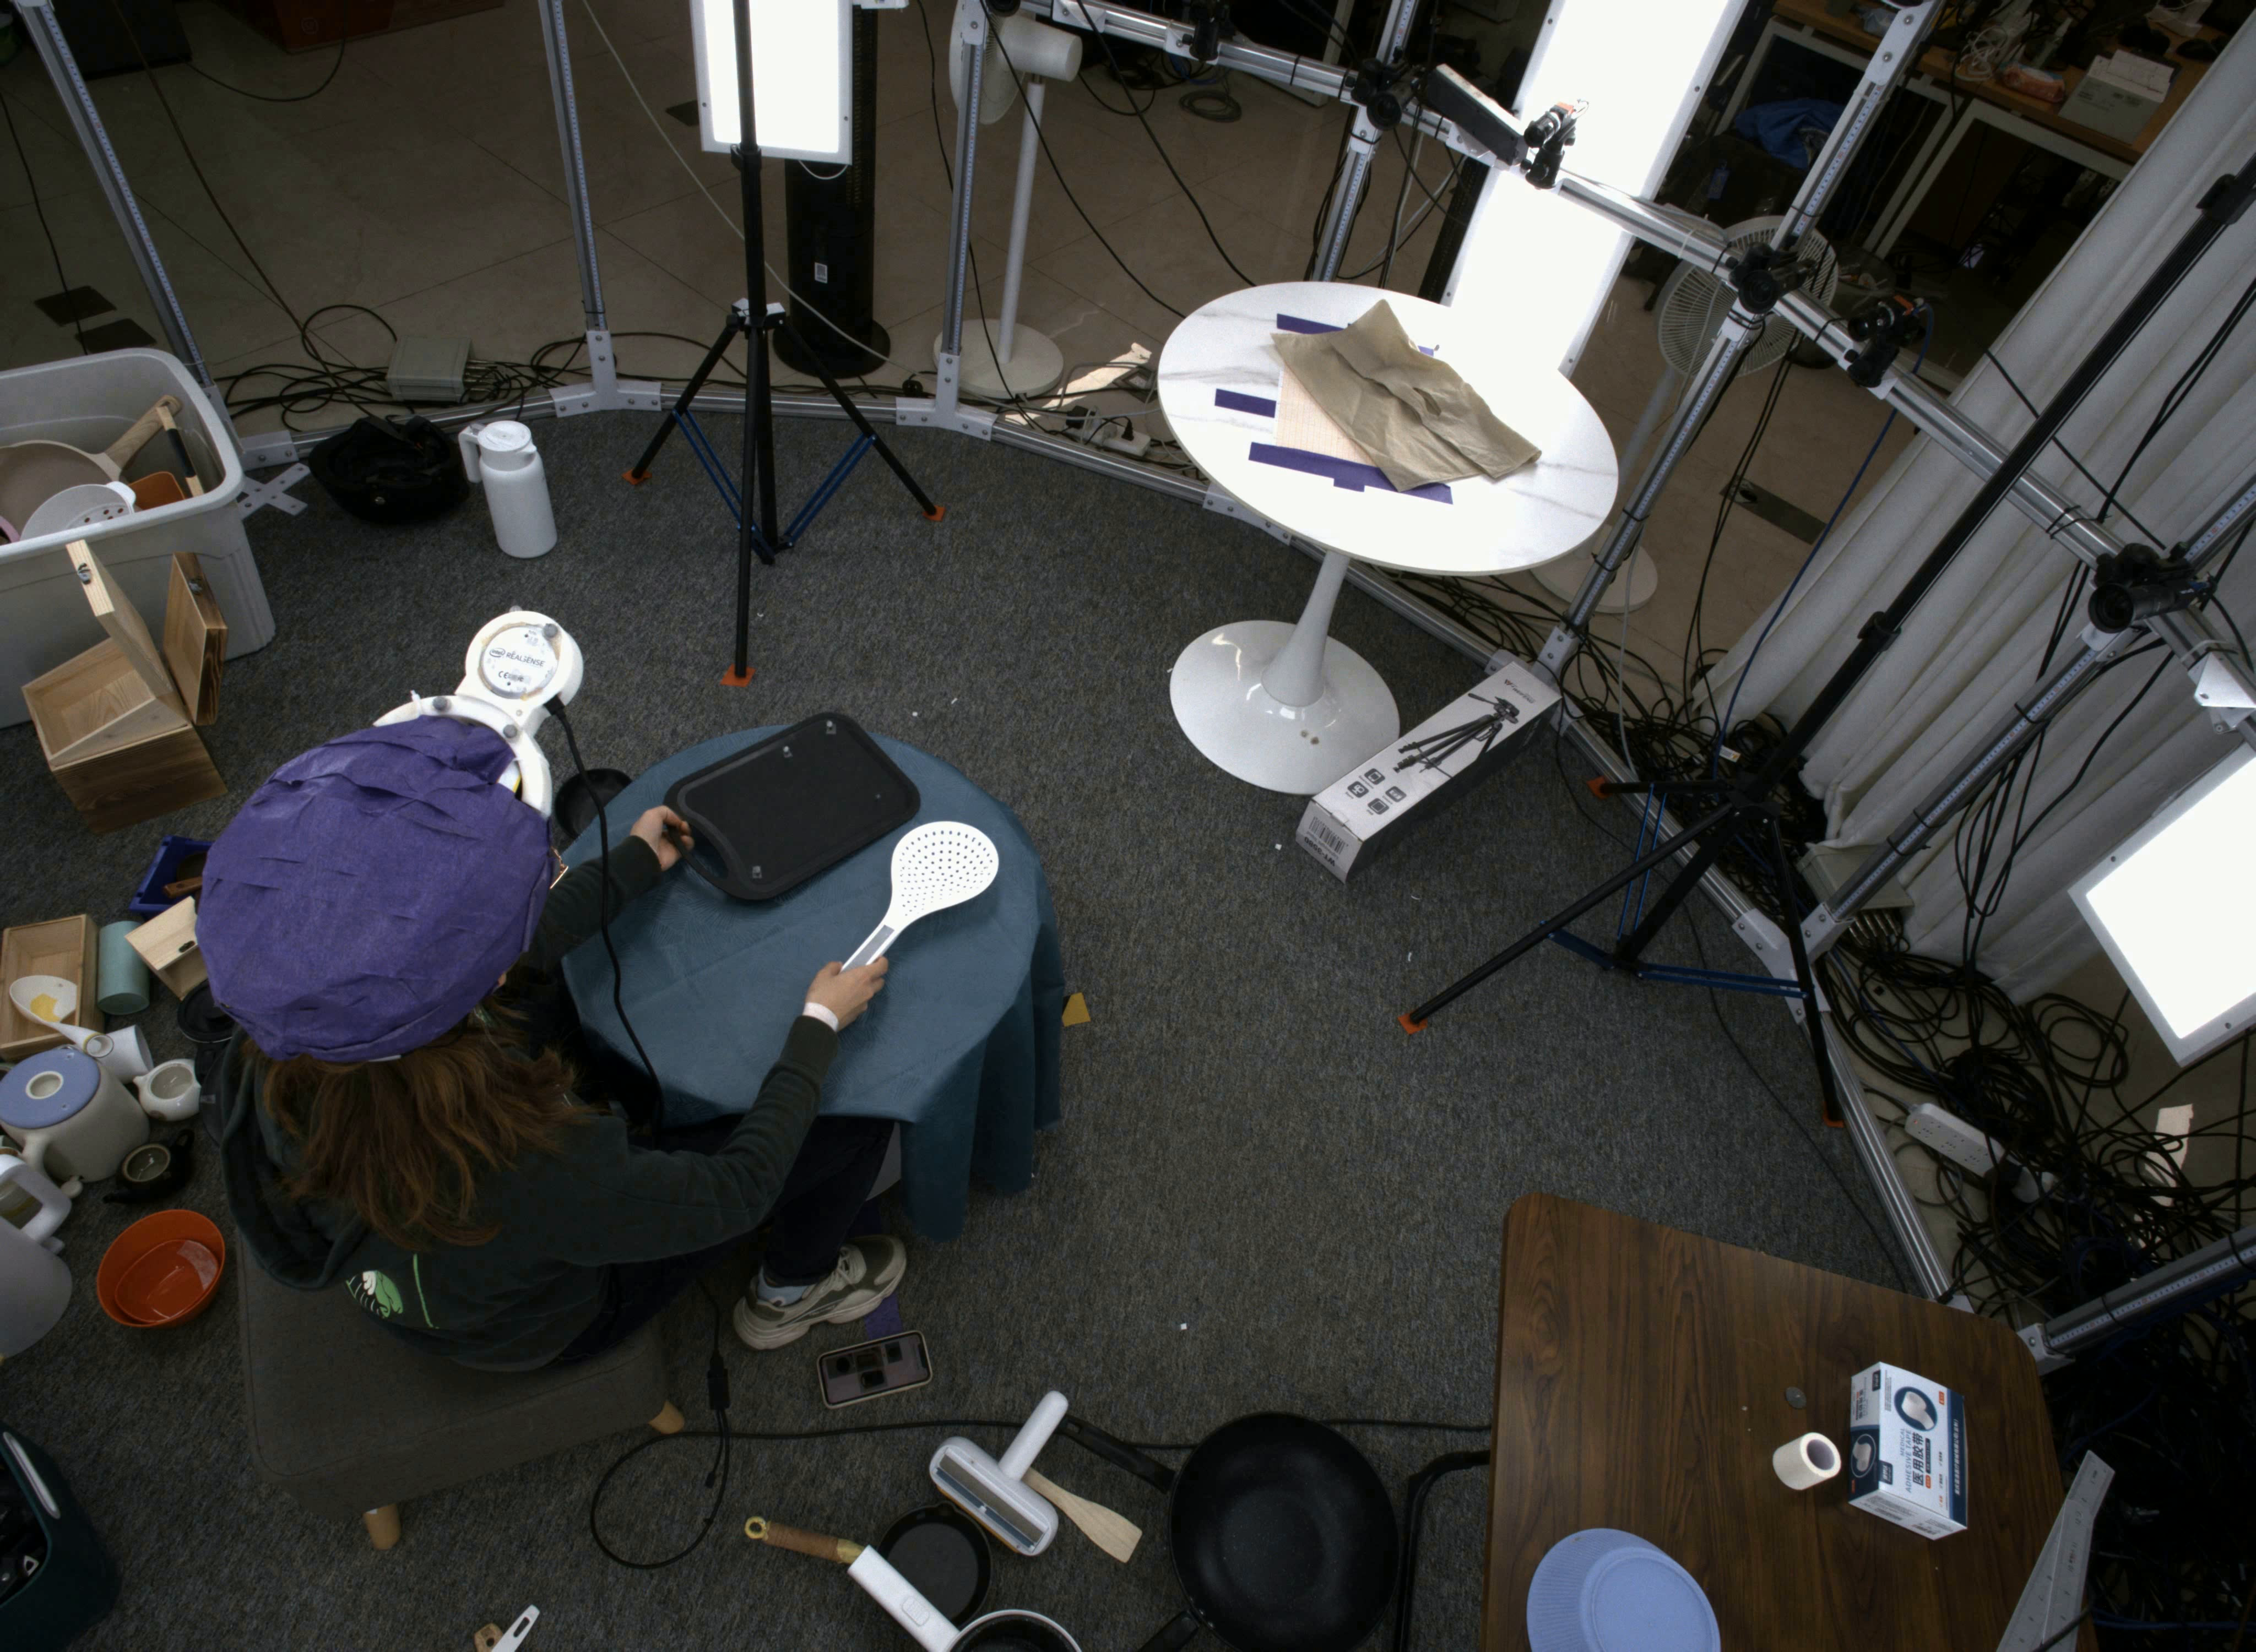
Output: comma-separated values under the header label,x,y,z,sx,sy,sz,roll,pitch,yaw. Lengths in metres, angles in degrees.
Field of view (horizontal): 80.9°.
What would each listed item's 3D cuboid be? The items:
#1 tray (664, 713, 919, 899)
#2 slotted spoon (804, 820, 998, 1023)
label,x,y,z,sx,sy,sz,roll,pitch,yaw
tray,-0.447,-0.031,1.716,0.208,0.010,0.326,46,51,13
slotted spoon,-0.289,0.115,1.634,0.133,0.047,0.348,25,46,15
